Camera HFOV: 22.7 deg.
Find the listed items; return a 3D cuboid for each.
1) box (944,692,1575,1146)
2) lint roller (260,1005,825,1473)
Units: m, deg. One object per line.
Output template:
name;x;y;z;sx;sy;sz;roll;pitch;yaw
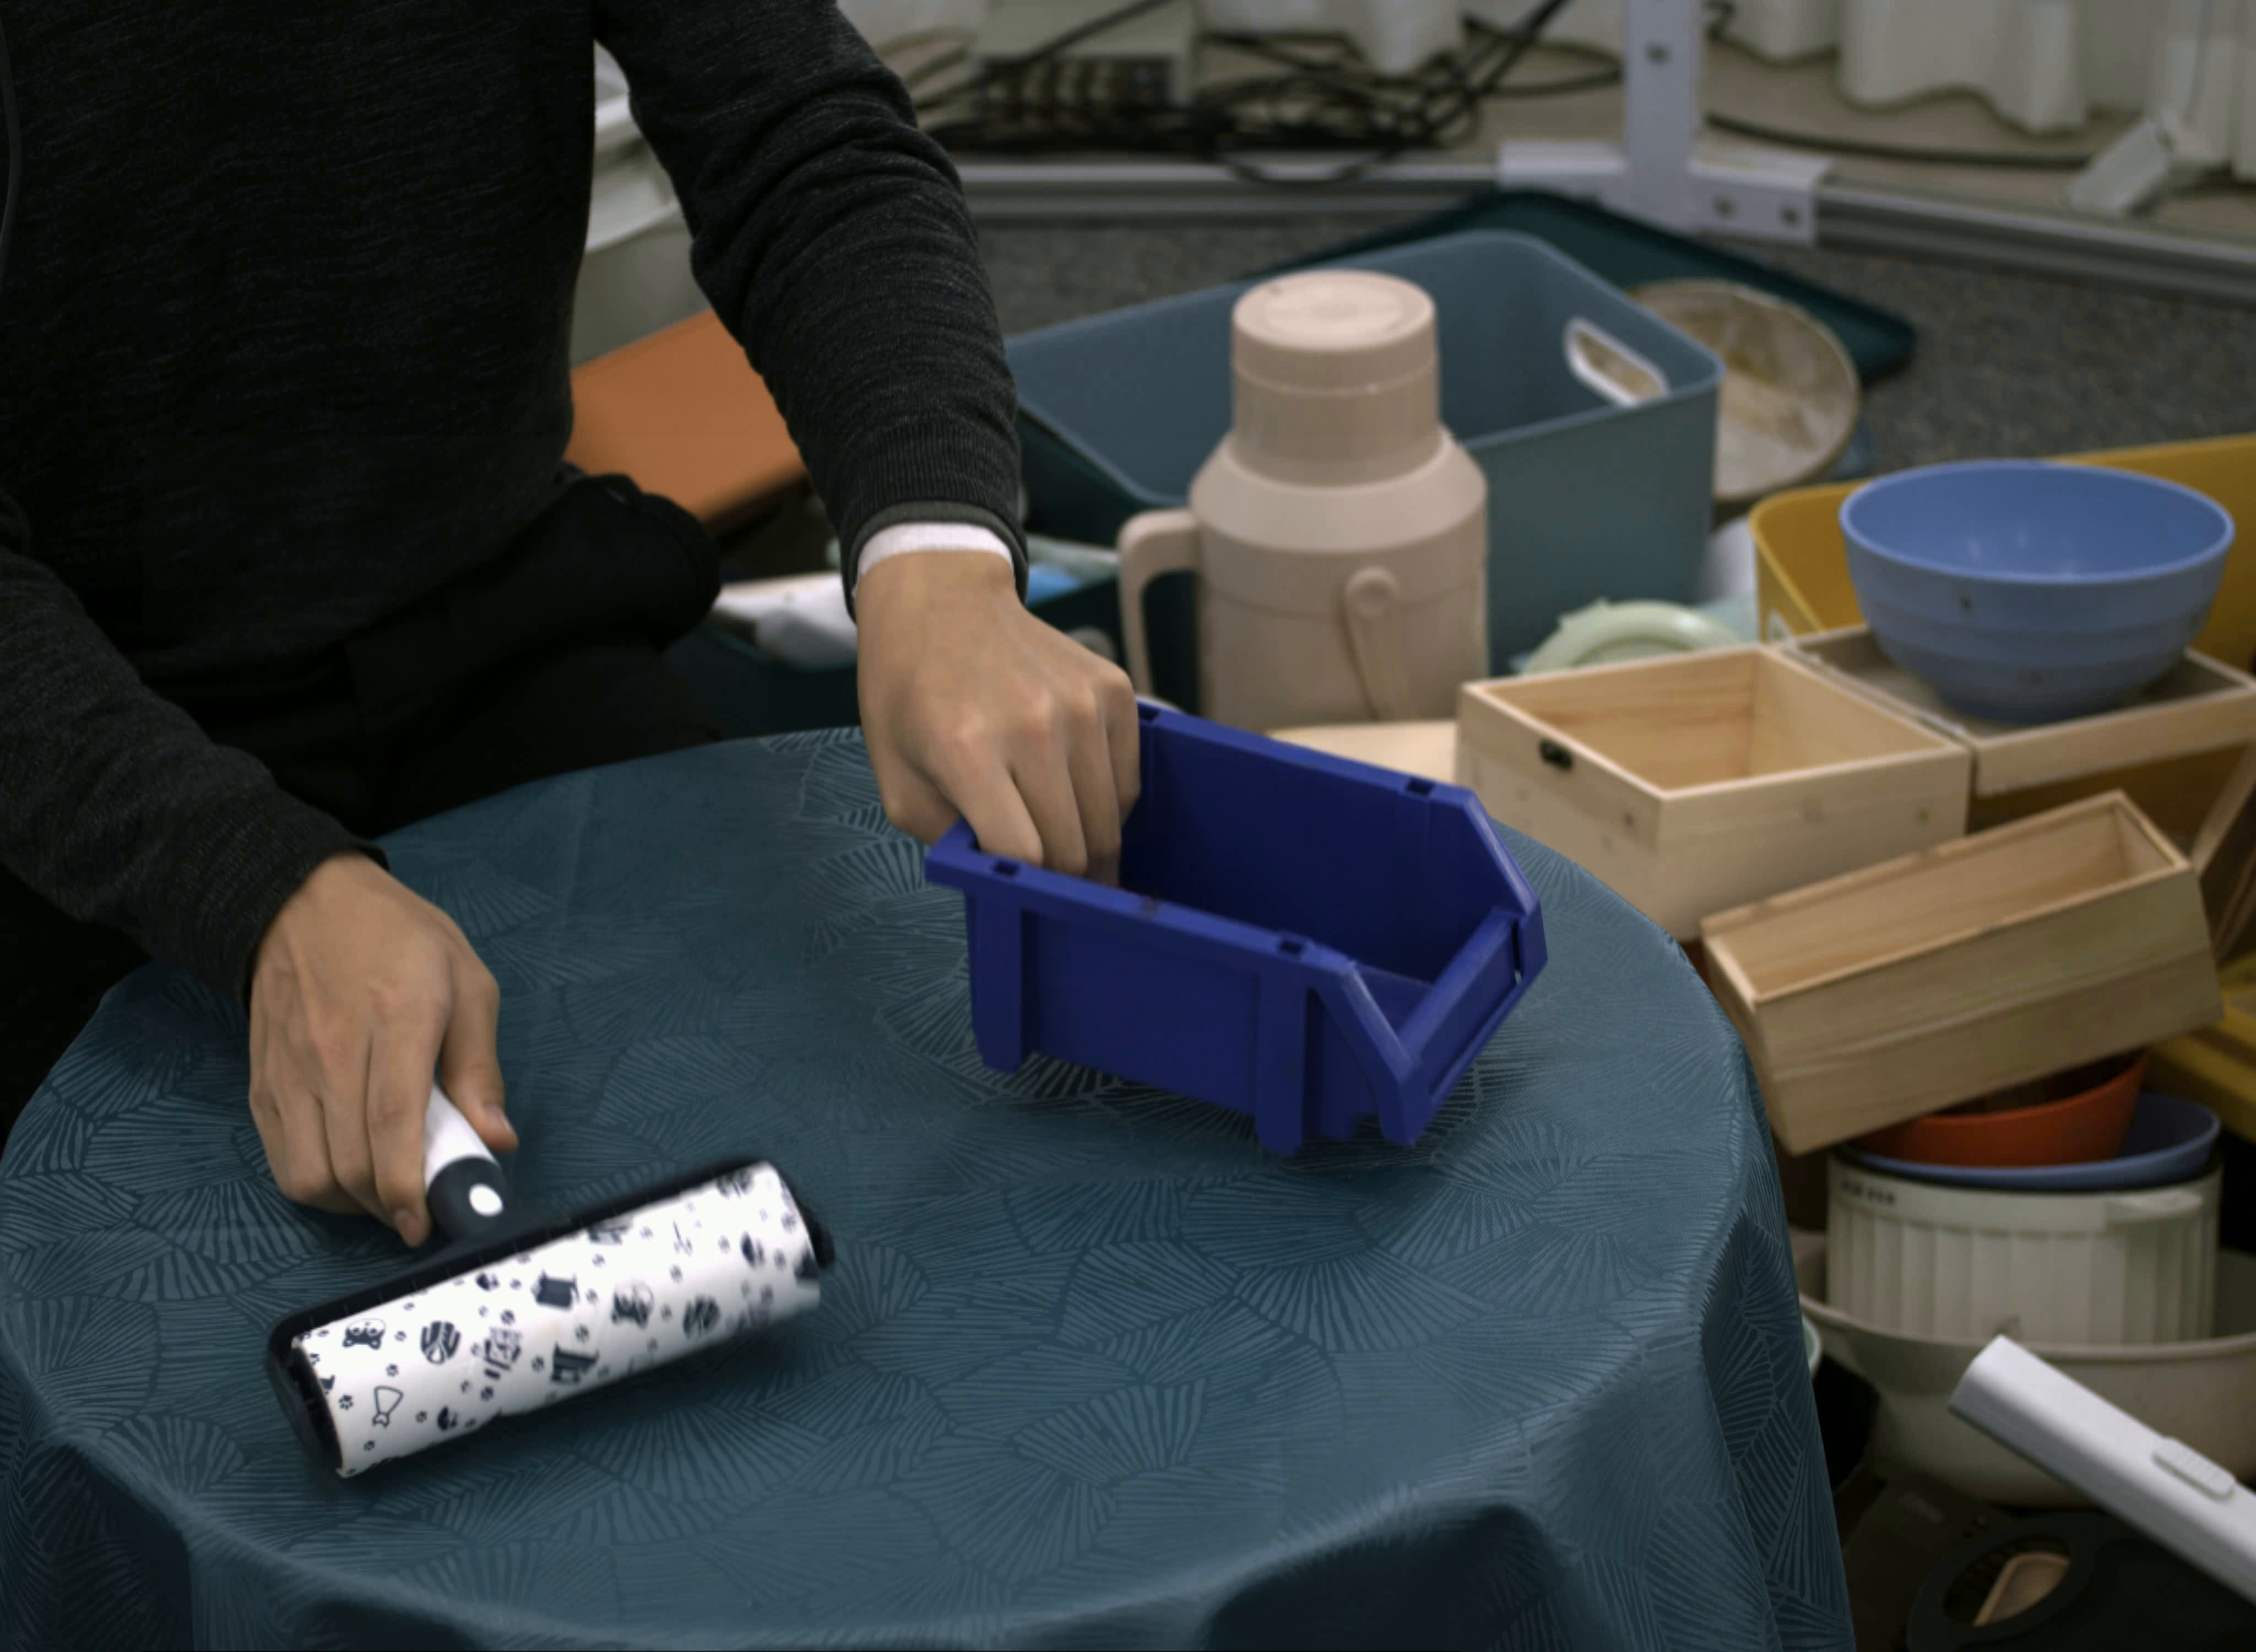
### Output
box;0.047;0.033;1.897;0.178;0.081;0.126;13;33;24
lint roller;-0.222;0.112;1.832;0.177;0.050;0.248;-22;31;-17
